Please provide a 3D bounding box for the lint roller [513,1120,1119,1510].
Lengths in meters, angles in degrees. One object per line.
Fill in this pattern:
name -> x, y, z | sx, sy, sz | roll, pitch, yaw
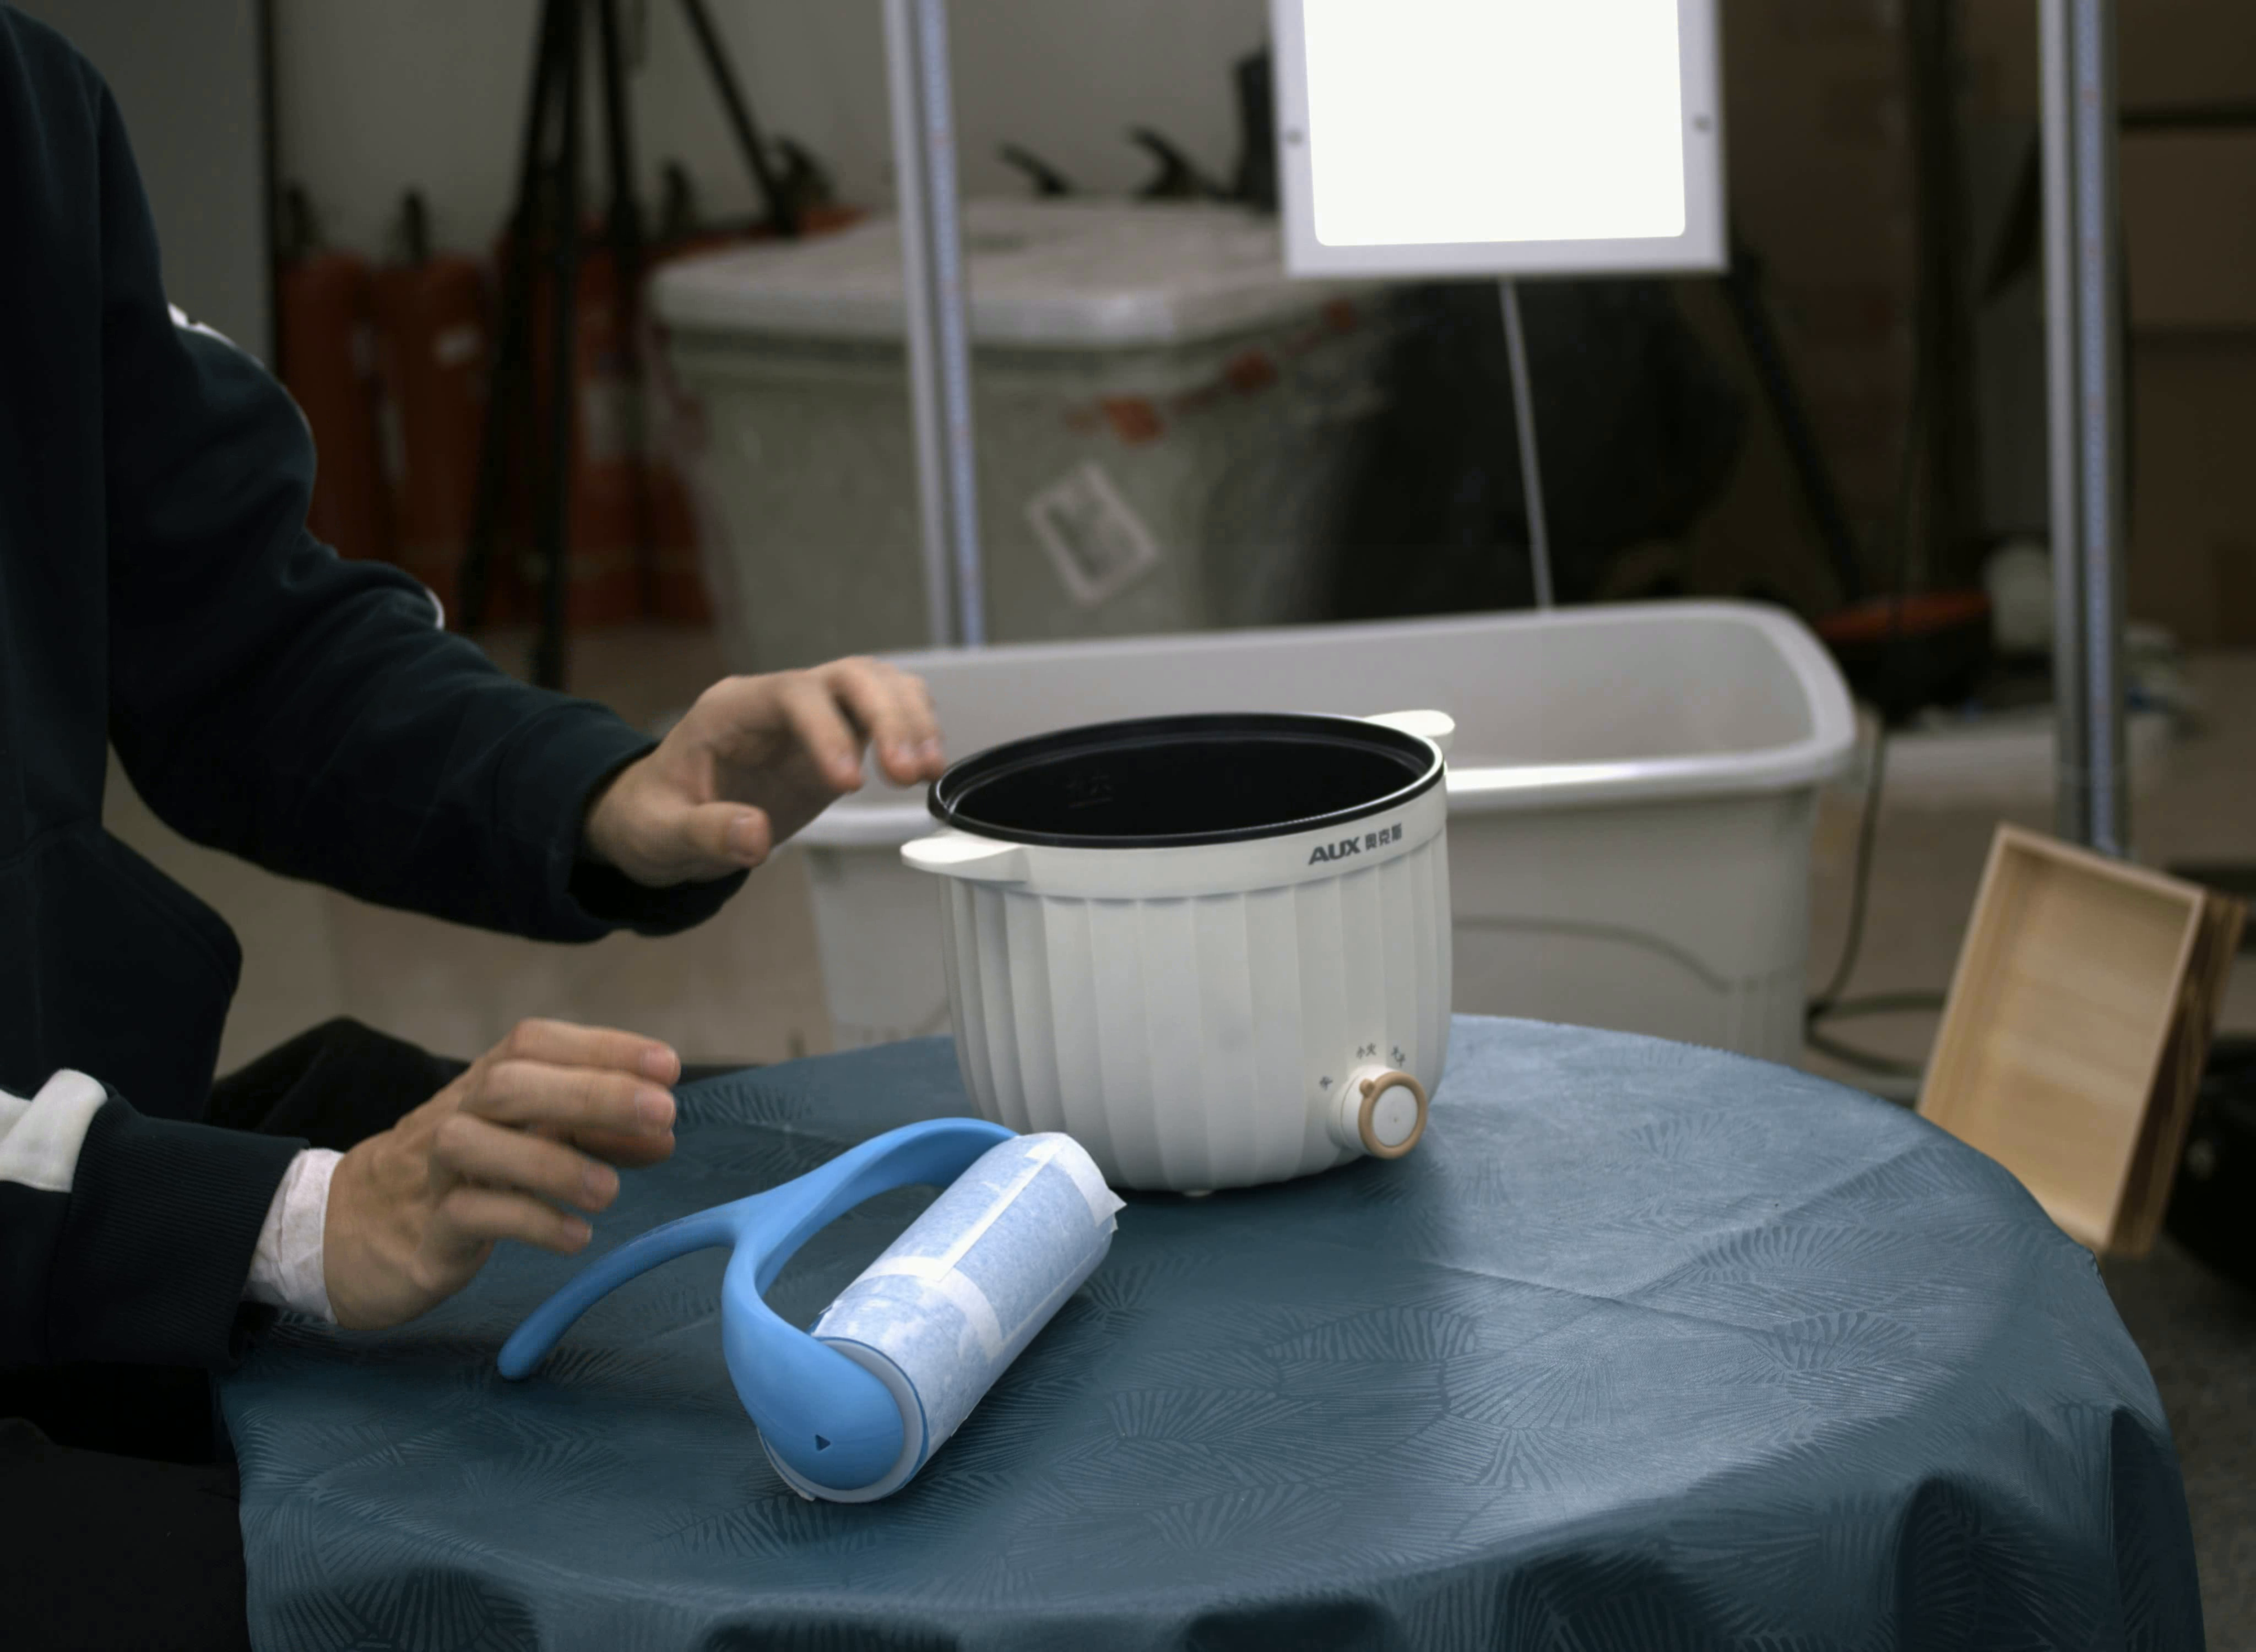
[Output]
lint roller -> -0.110, 0.151, 1.722 | 0.182, 0.068, 0.226 | -1, 16, 14

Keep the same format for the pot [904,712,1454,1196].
pot -> 0.030, 0.046, 1.921 | 0.234, 0.143, 0.194 | -17, 15, -36
